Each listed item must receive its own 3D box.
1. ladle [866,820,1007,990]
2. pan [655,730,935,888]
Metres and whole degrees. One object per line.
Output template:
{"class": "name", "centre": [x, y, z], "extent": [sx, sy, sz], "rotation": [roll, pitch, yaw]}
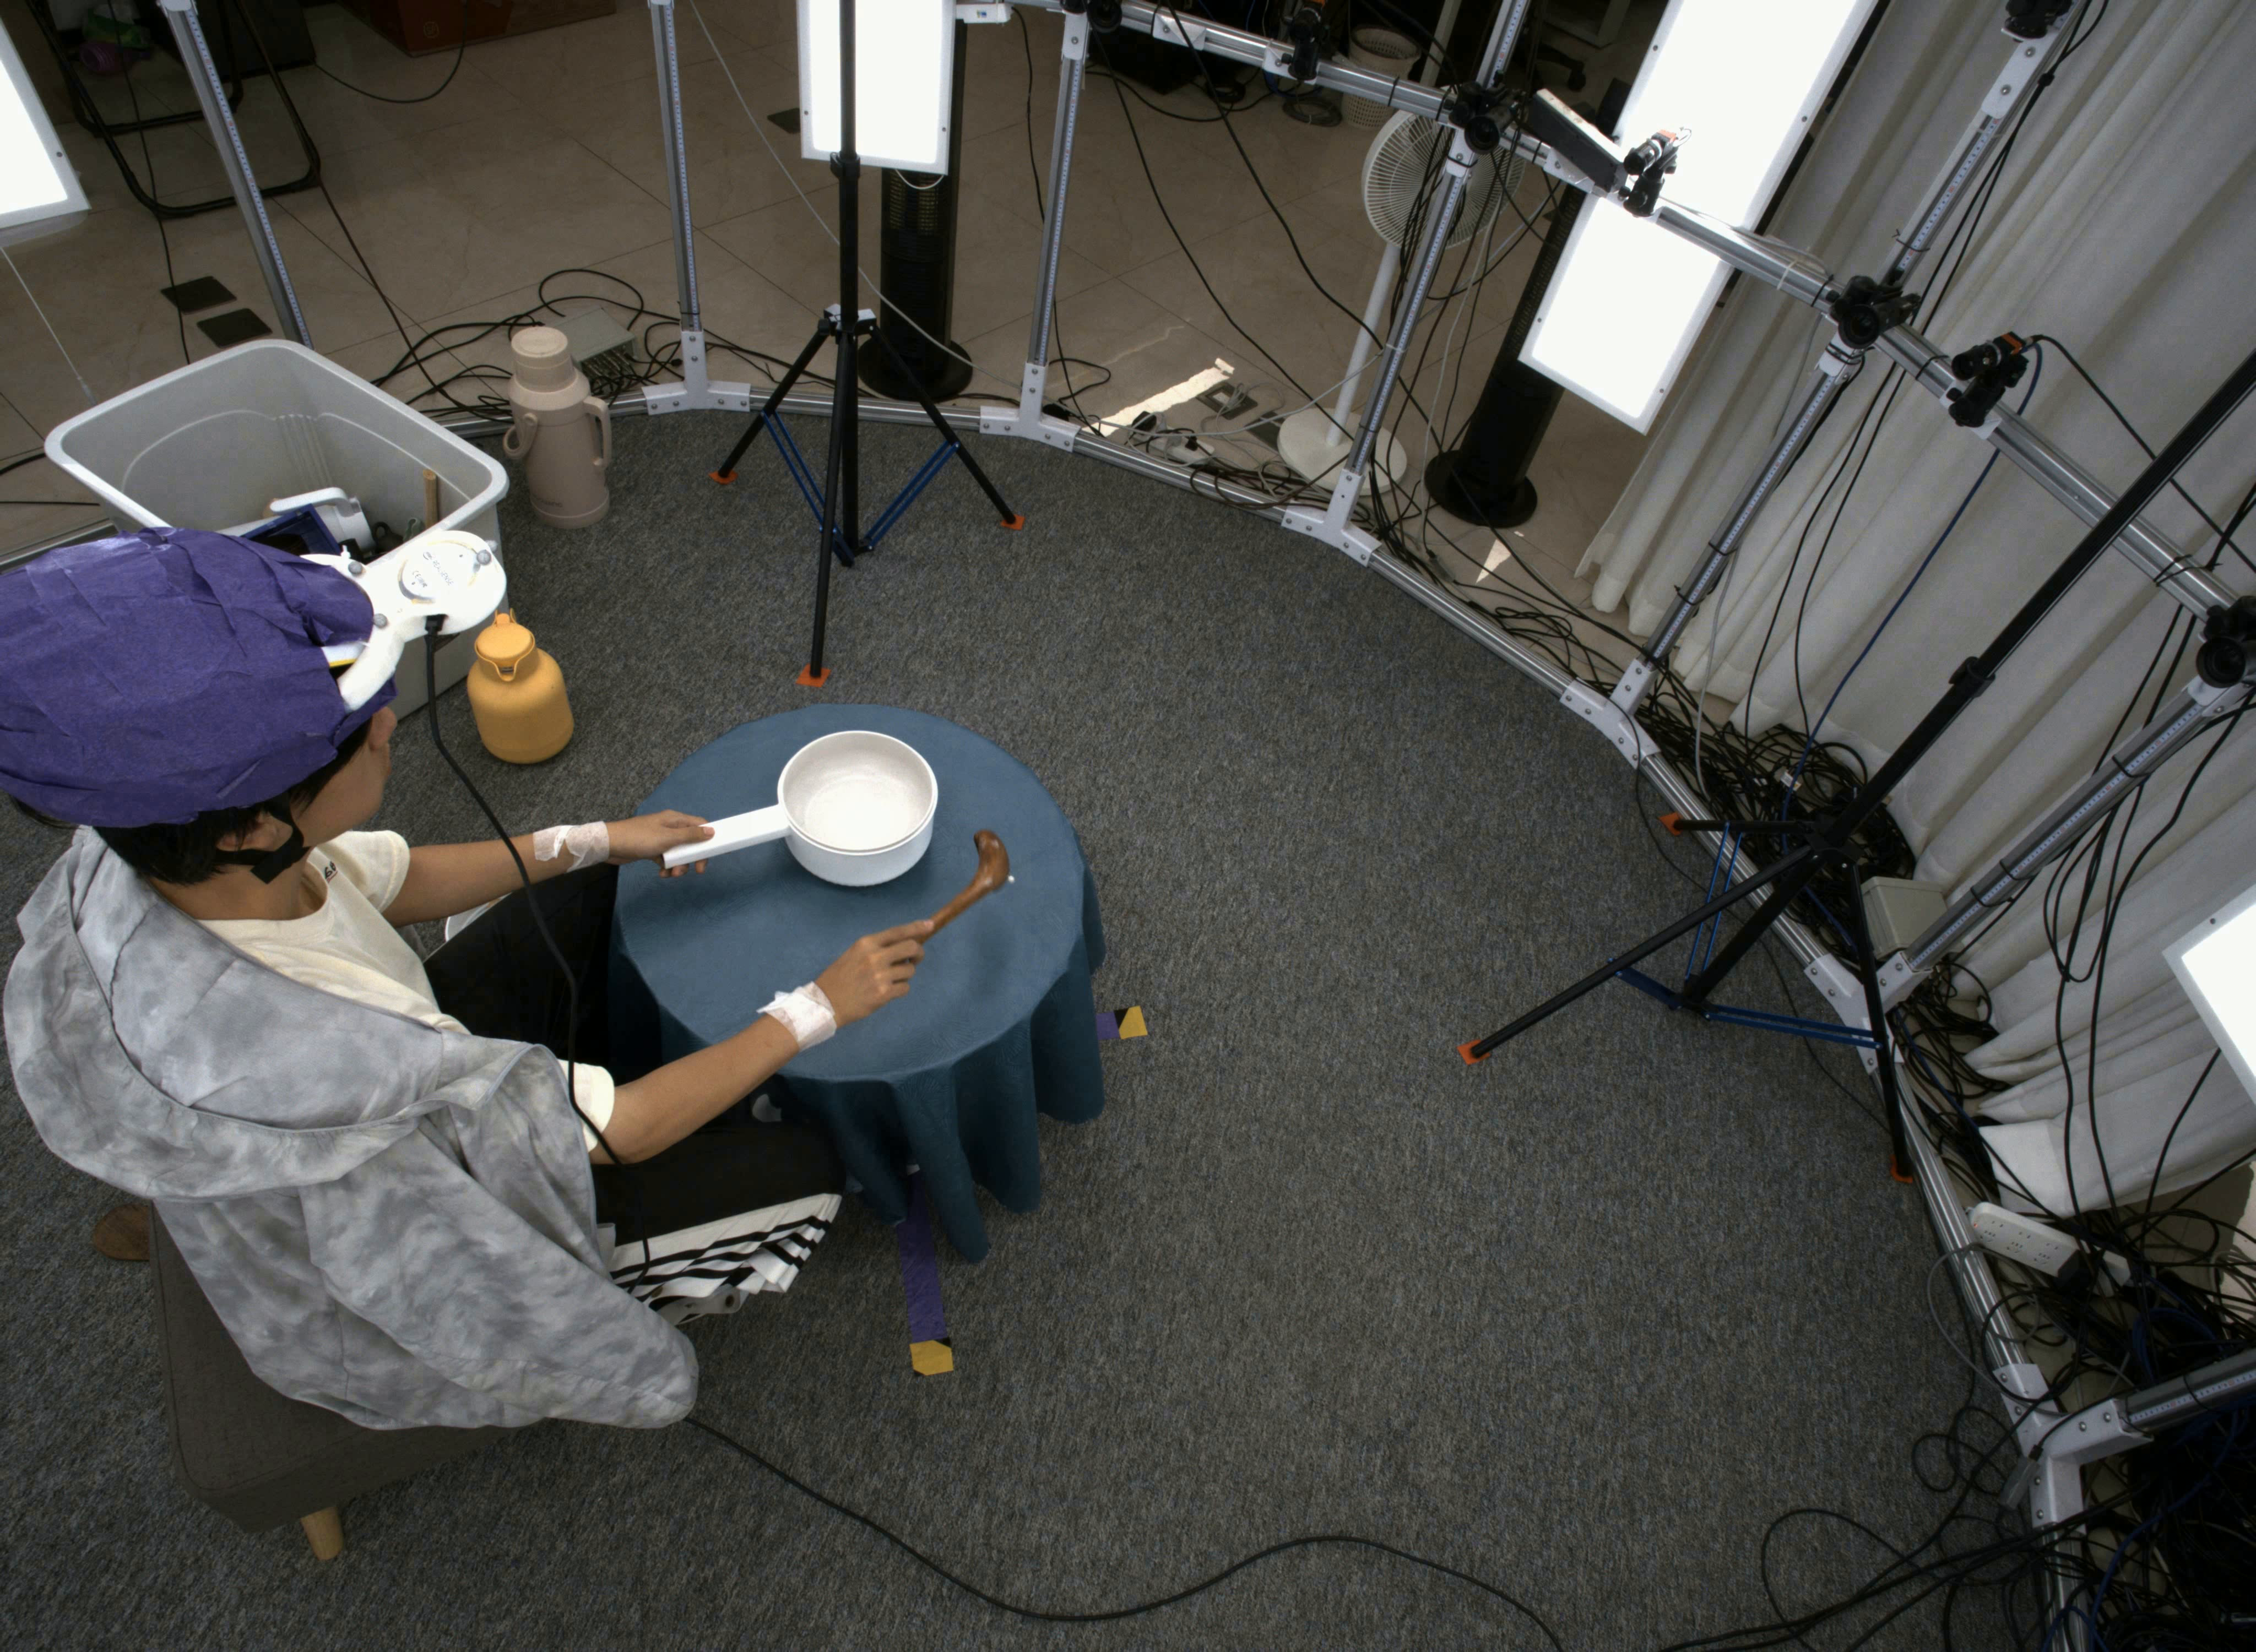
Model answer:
{"class": "ladle", "centre": [-0.234, 0.089, 1.539], "extent": [0.074, 0.085, 0.274], "rotation": [9, 40, 38]}
{"class": "pan", "centre": [-0.420, 0.003, 1.661], "extent": [0.356, 0.104, 0.196], "rotation": [-17, 60, -24]}
